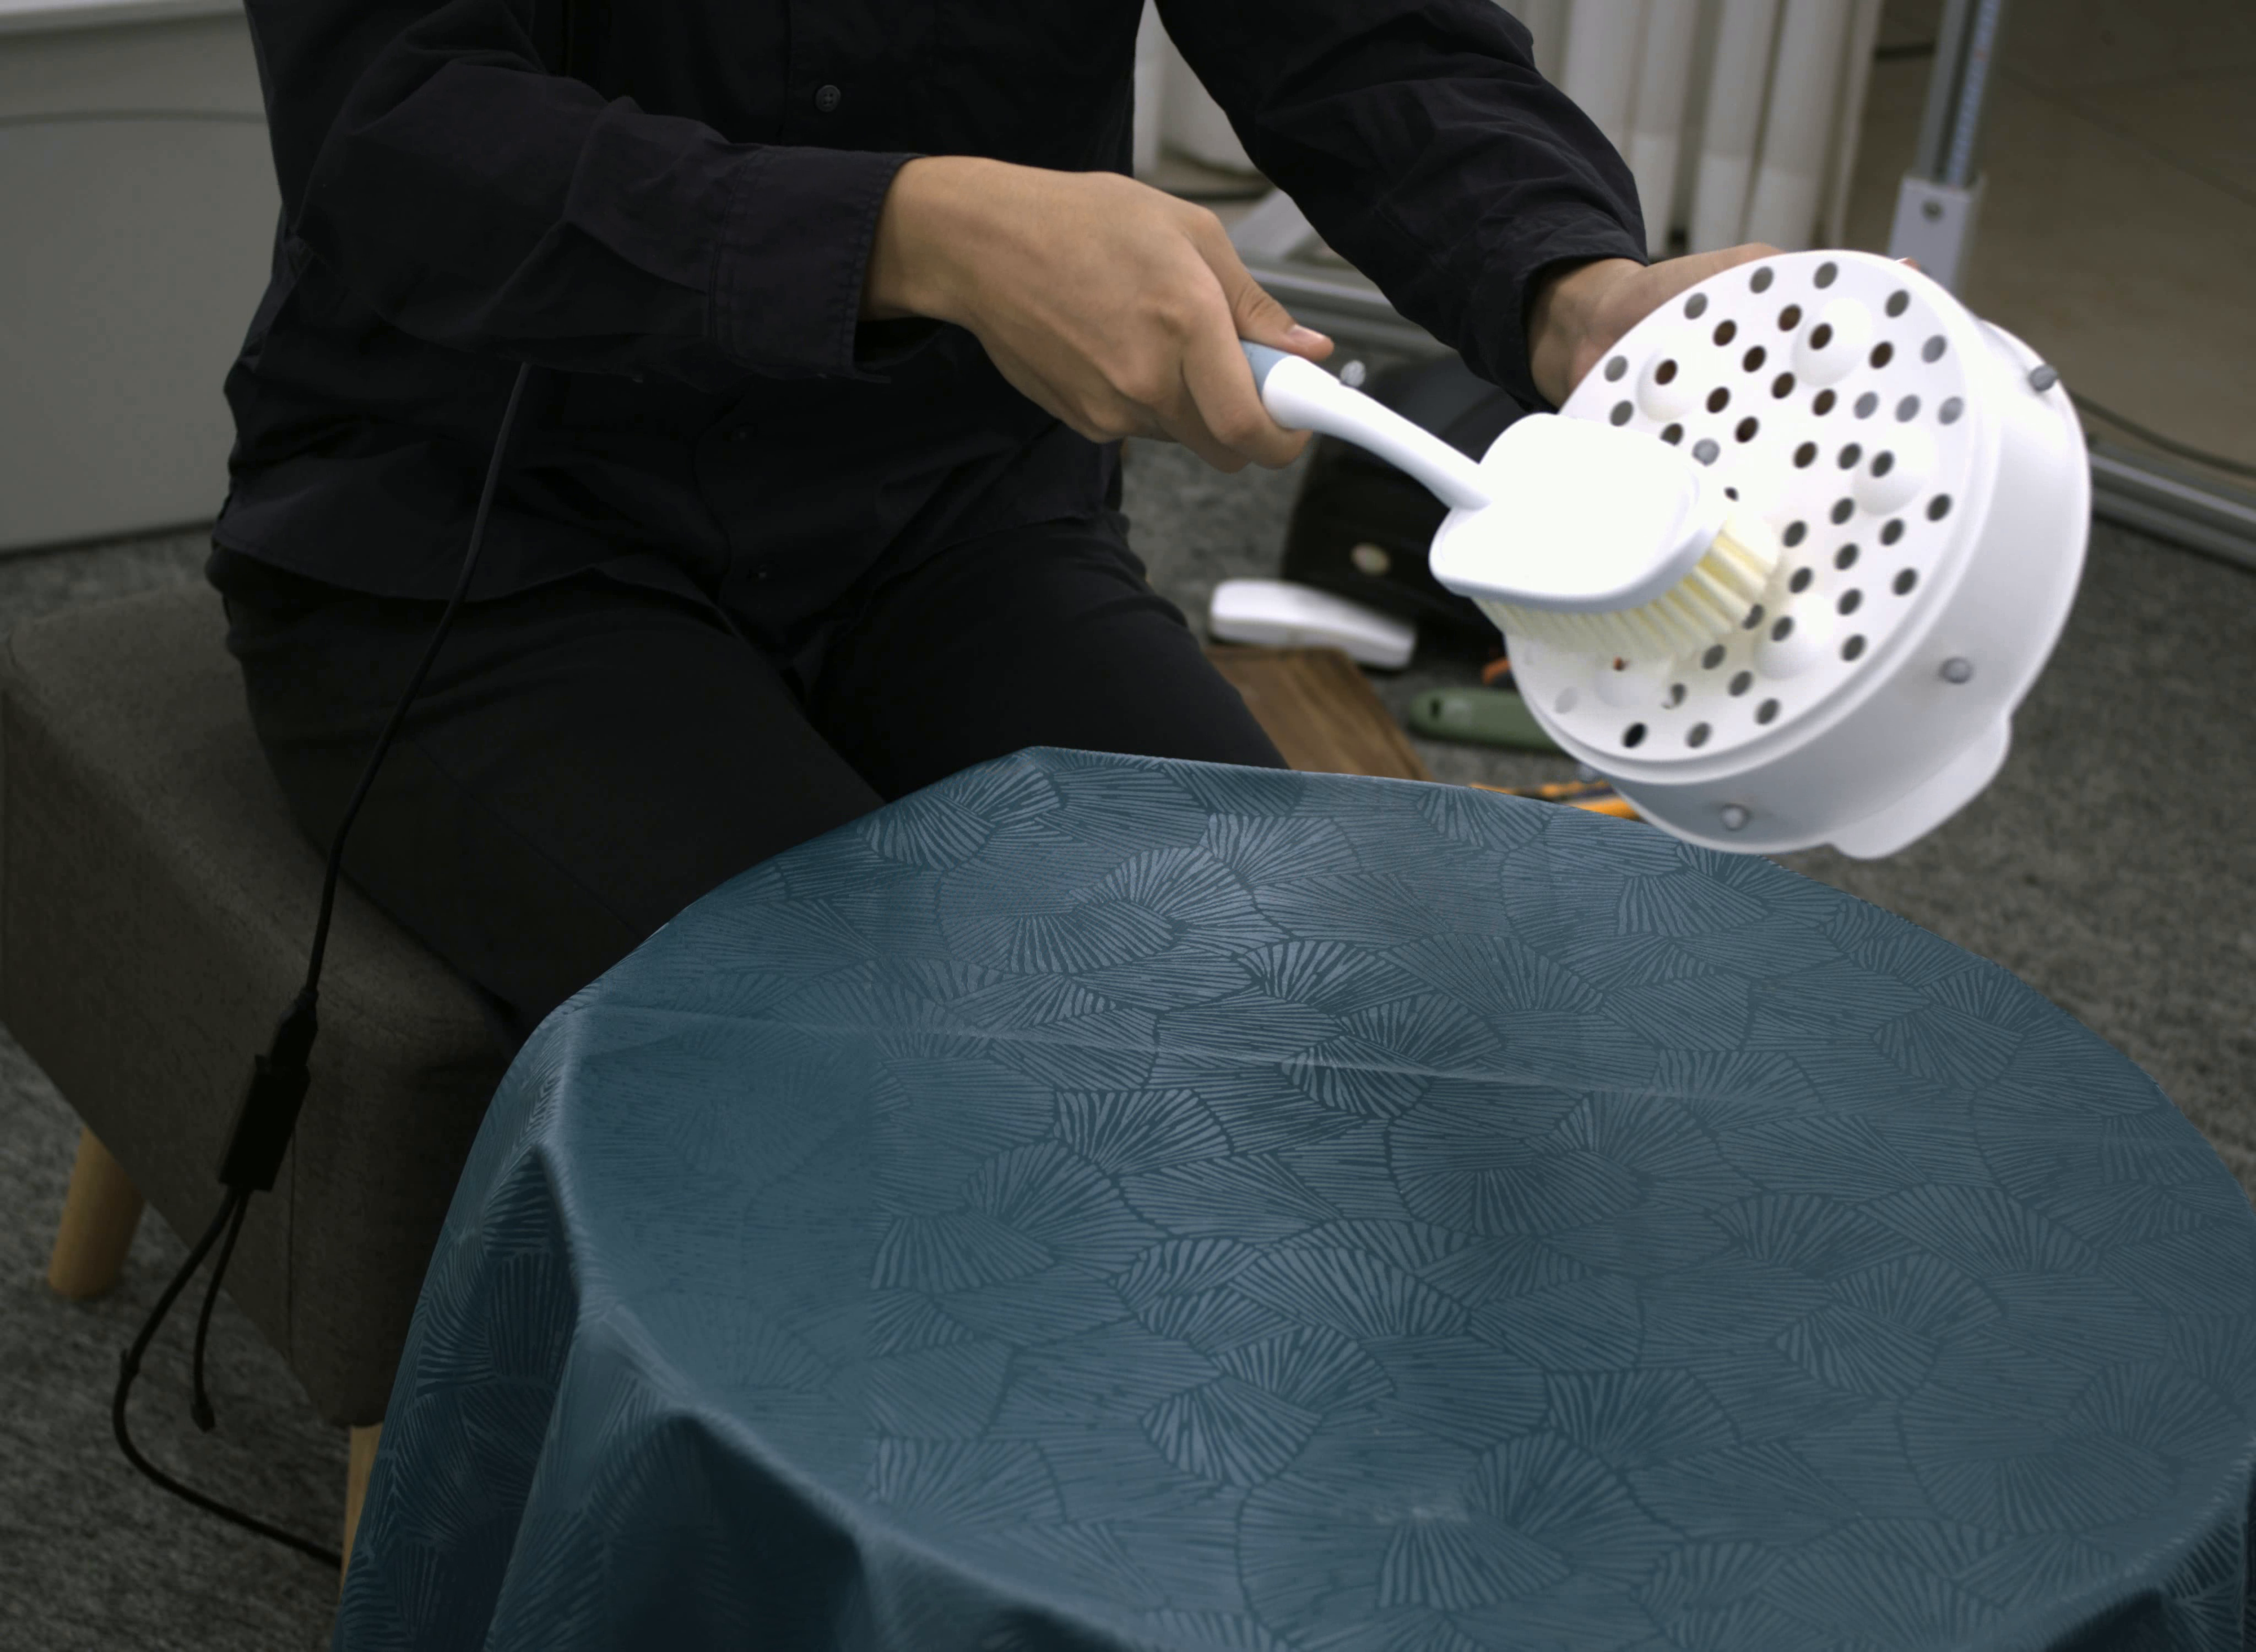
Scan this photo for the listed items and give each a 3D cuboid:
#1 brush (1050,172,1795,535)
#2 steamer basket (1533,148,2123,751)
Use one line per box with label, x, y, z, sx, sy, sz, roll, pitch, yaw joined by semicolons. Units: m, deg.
brush;0.103;-0.164;1.815;0.083;0.084;0.328;-29;35;-33
steamer basket;0.227;-0.129;1.768;0.068;0.202;0.233;33;27;-42
